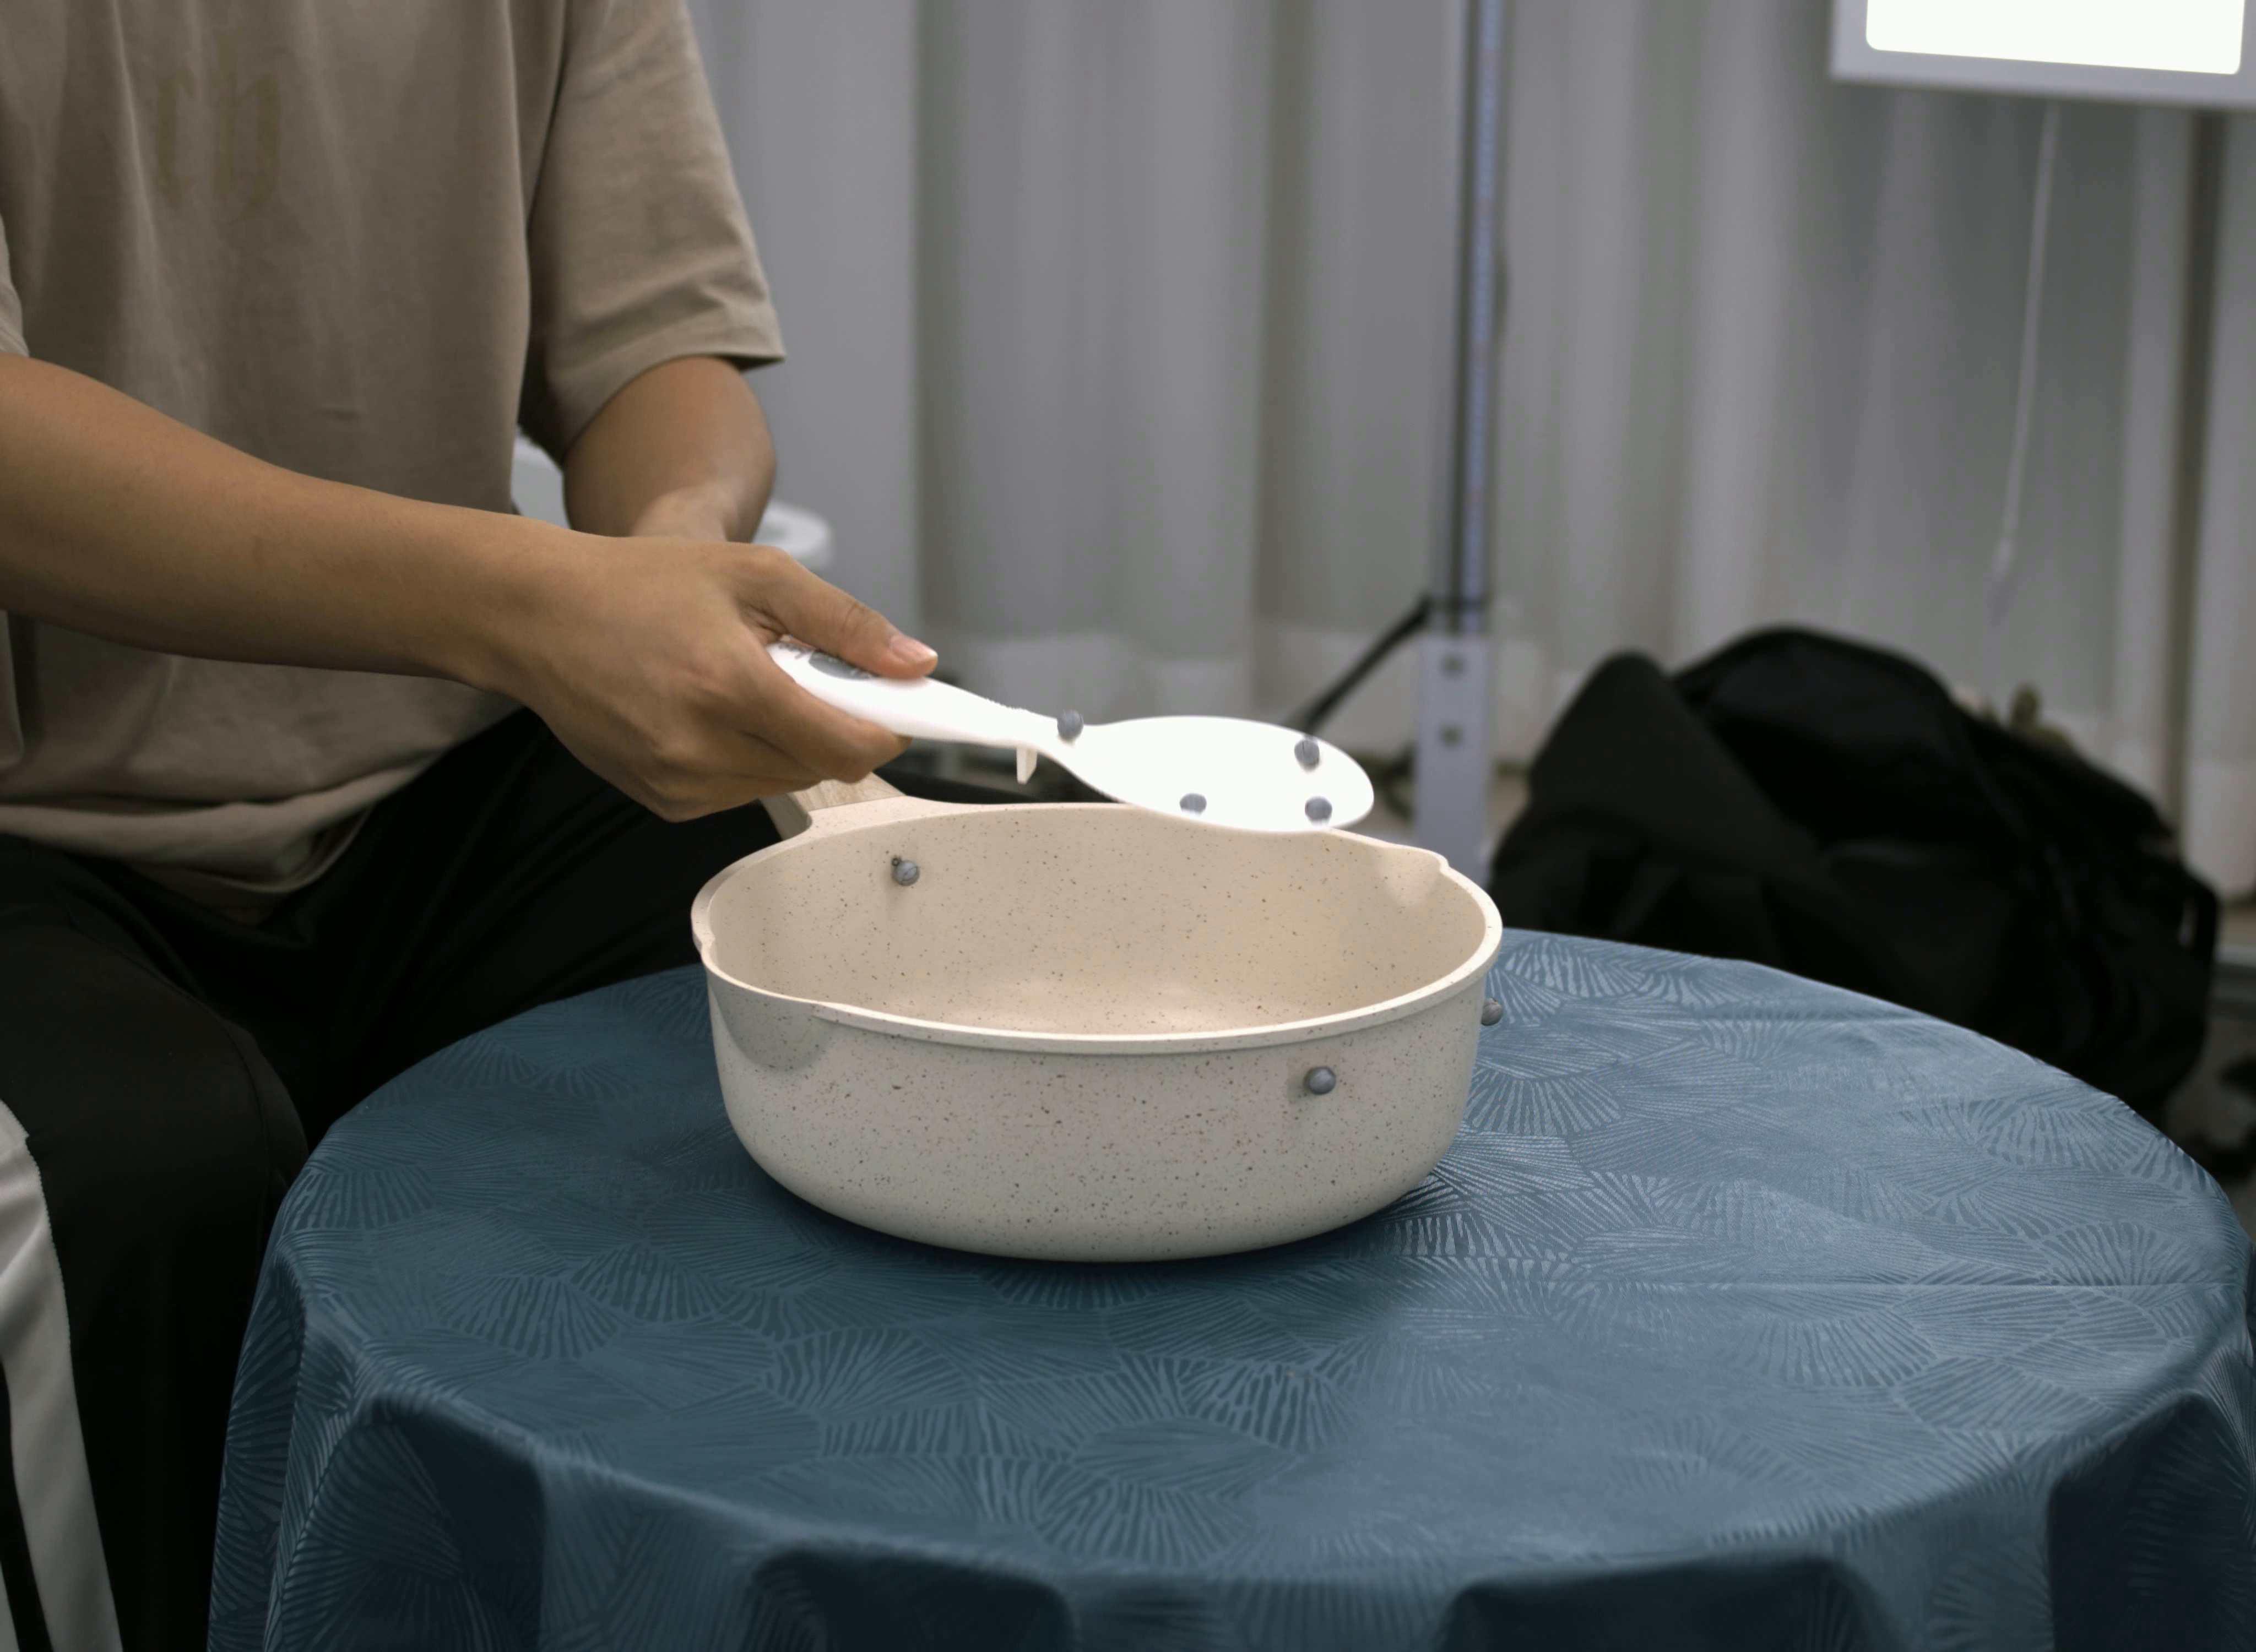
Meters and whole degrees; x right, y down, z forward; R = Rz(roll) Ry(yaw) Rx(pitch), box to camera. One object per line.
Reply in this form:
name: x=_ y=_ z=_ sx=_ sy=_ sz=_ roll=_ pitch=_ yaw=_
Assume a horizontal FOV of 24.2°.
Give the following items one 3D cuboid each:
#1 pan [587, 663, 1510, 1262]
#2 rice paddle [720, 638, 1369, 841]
pan: x=-0.057 y=0.038 z=1.713 sx=0.264 sy=0.103 sz=0.429 roll=-12 pitch=20 yaw=-33
rice paddle: x=-0.025 y=-0.026 z=1.619 sx=0.204 sy=0.030 sz=0.068 roll=11 pitch=31 yaw=11
